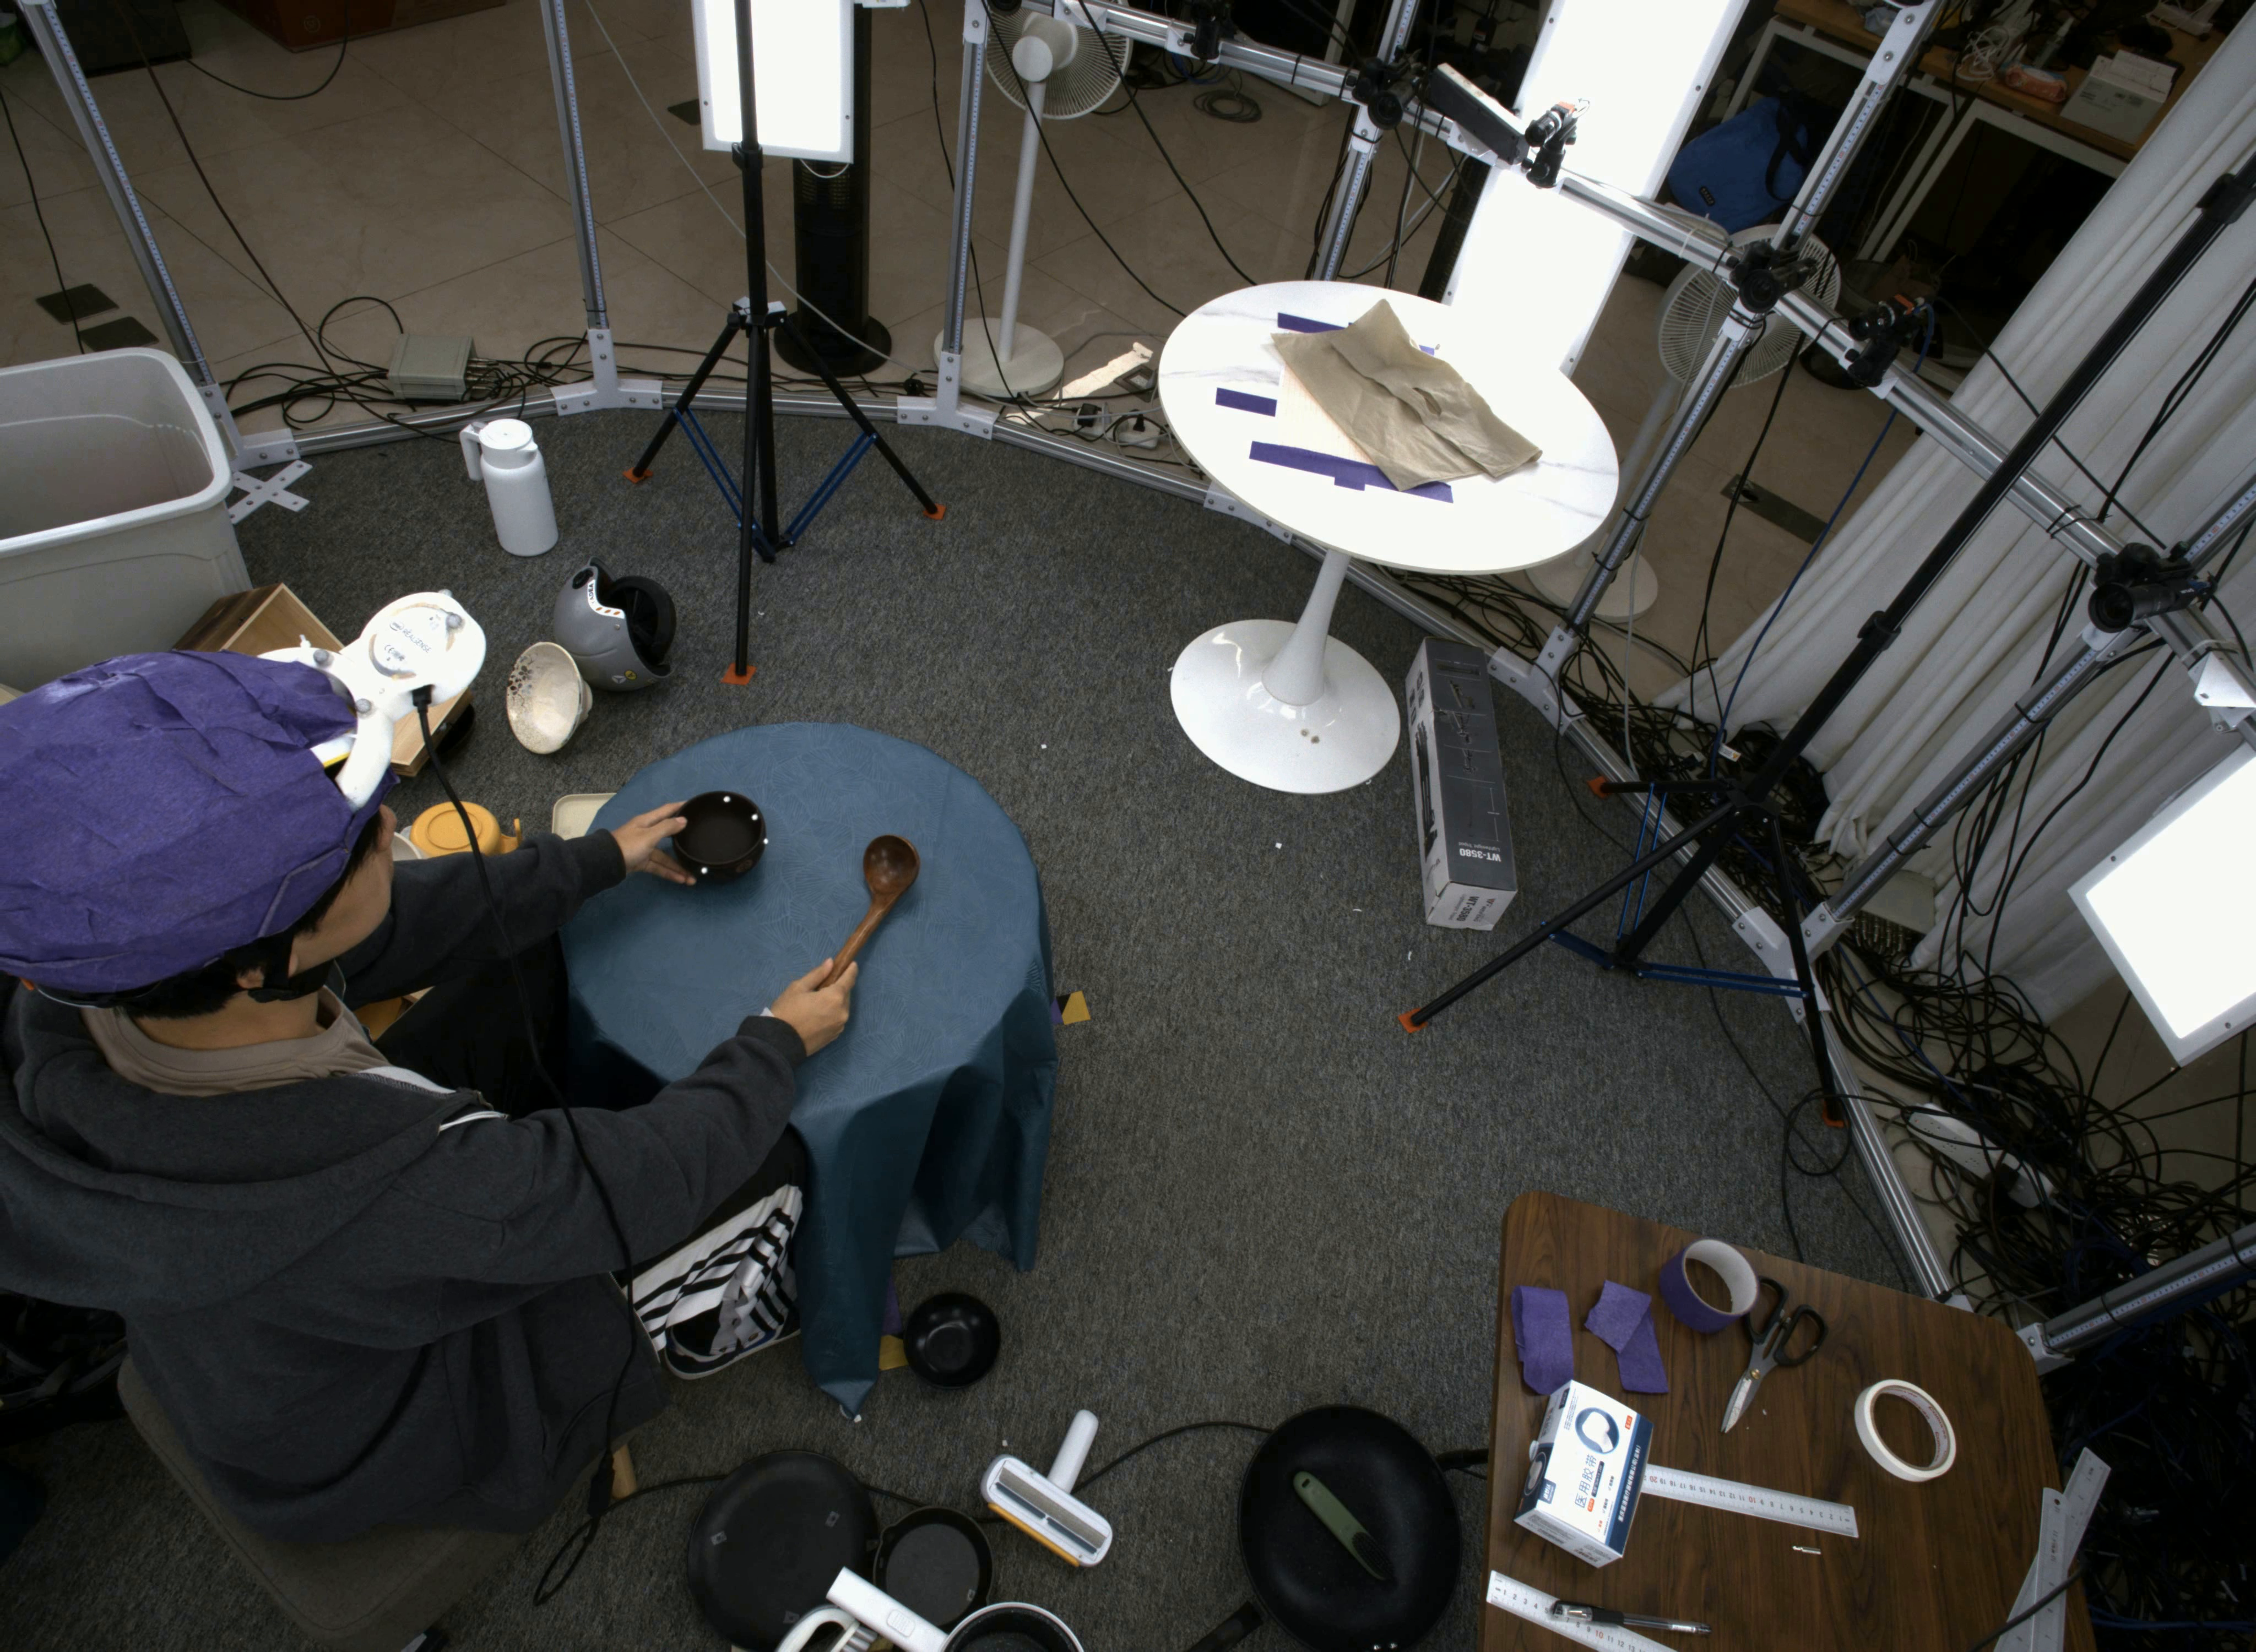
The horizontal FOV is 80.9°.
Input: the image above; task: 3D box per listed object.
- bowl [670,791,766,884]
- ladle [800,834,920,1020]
[{"bbox_3d":[-0.519,0.021,1.639,0.118,0.071,0.116,7,54,-9],"label":"bowl"},{"bbox_3d":[-0.337,0.114,1.600,0.079,0.079,0.271,1,37,23],"label":"ladle"}]
